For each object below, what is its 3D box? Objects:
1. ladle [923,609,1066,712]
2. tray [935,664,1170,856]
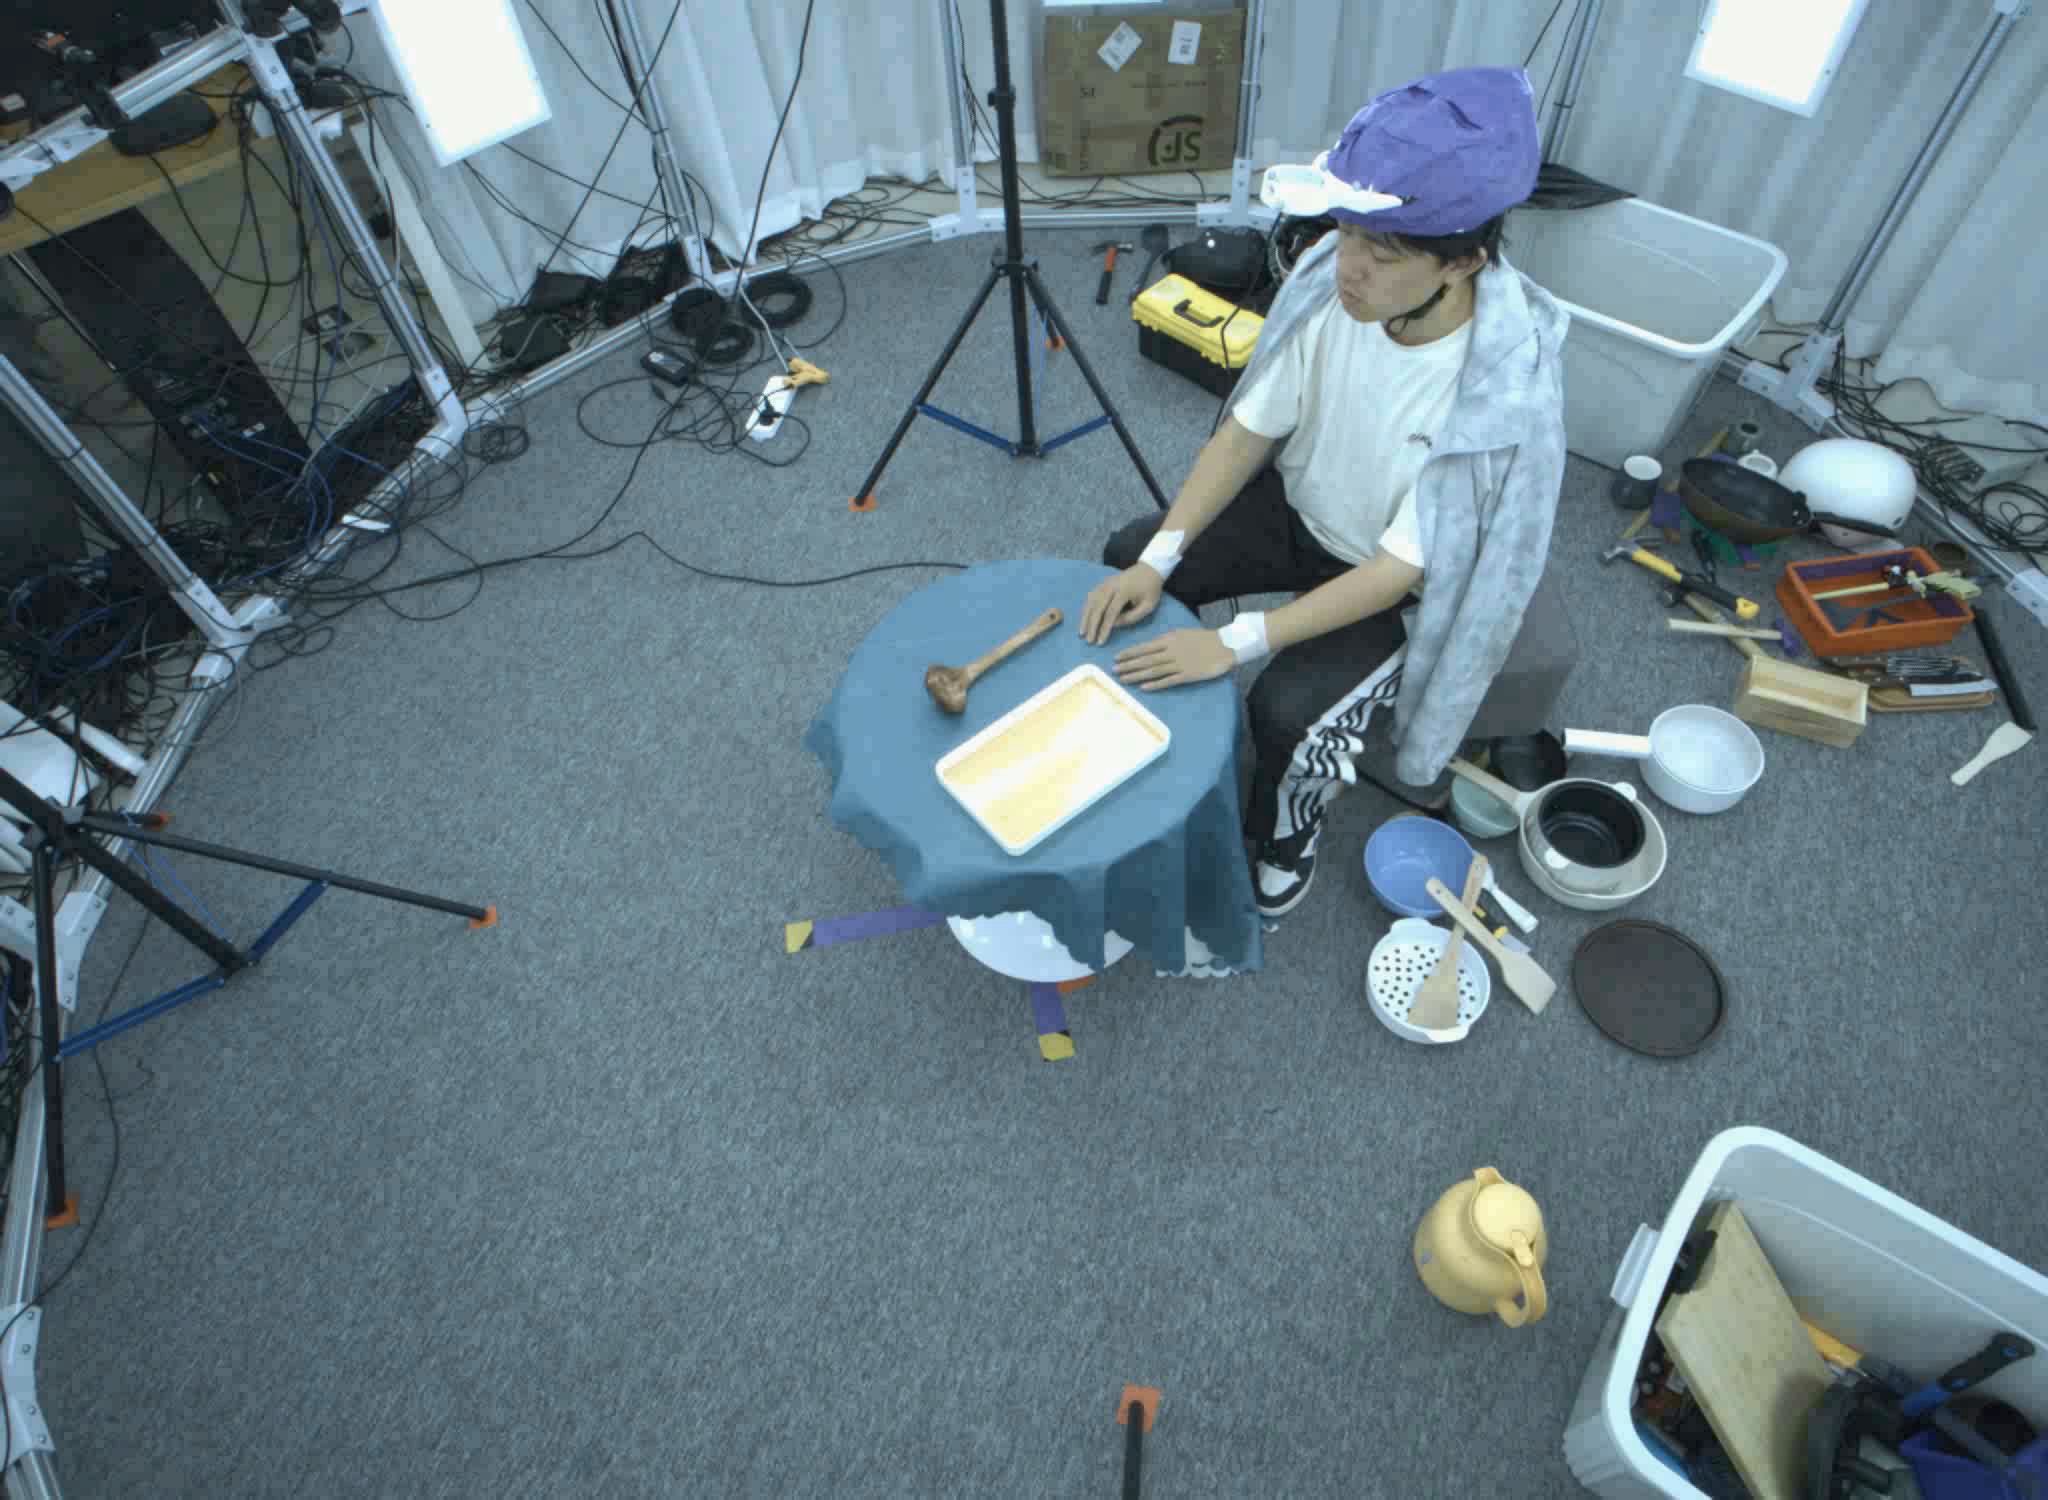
[{"bbox_3d":[-0.037,-0.148,1.852,0.276,0.075,0.082,-34,99,-21],"label":"ladle"},{"bbox_3d":[0.042,0.008,1.765,0.302,0.028,0.188,-34,60,-20],"label":"tray"}]
